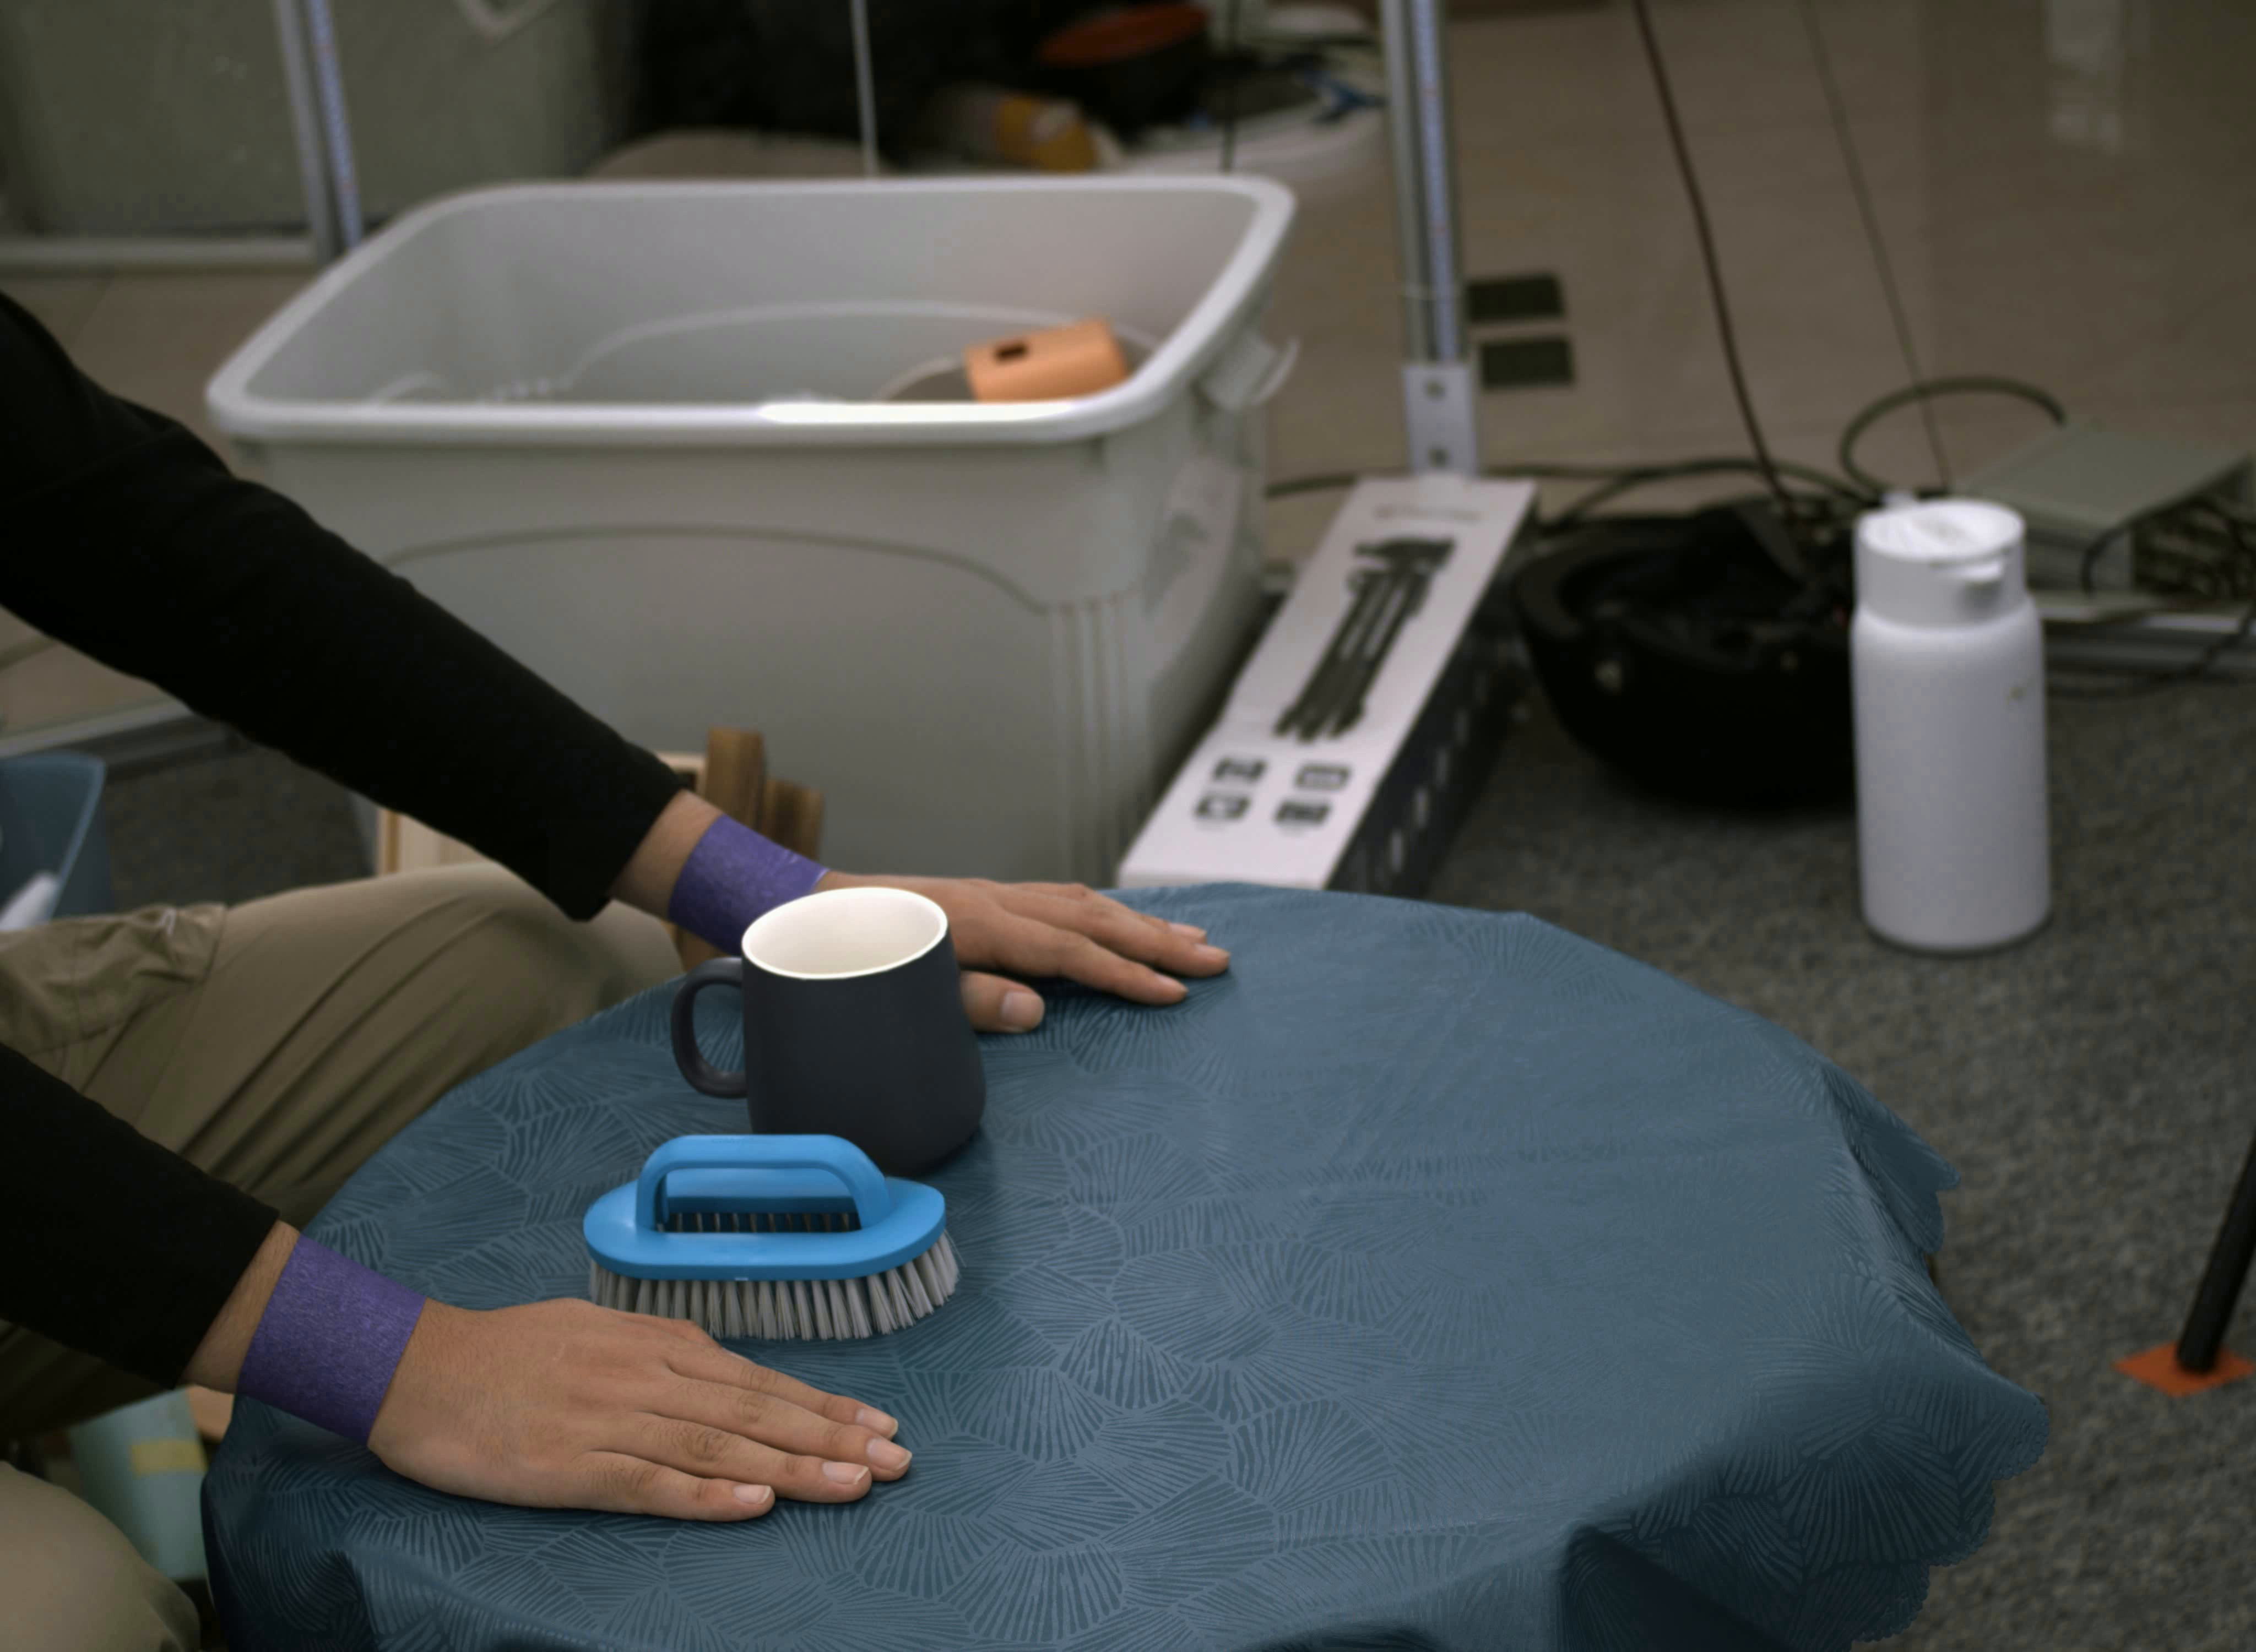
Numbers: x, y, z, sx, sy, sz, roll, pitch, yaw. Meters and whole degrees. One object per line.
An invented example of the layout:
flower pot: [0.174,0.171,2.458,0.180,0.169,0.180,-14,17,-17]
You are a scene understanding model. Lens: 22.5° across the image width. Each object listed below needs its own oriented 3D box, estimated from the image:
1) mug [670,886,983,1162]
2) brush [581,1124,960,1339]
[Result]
mug: [-0.119,0.078,2.192,0.123,0.091,0.092,4,27,18]
brush: [-0.136,0.141,2.096,0.141,0.065,0.083,-1,31,14]
